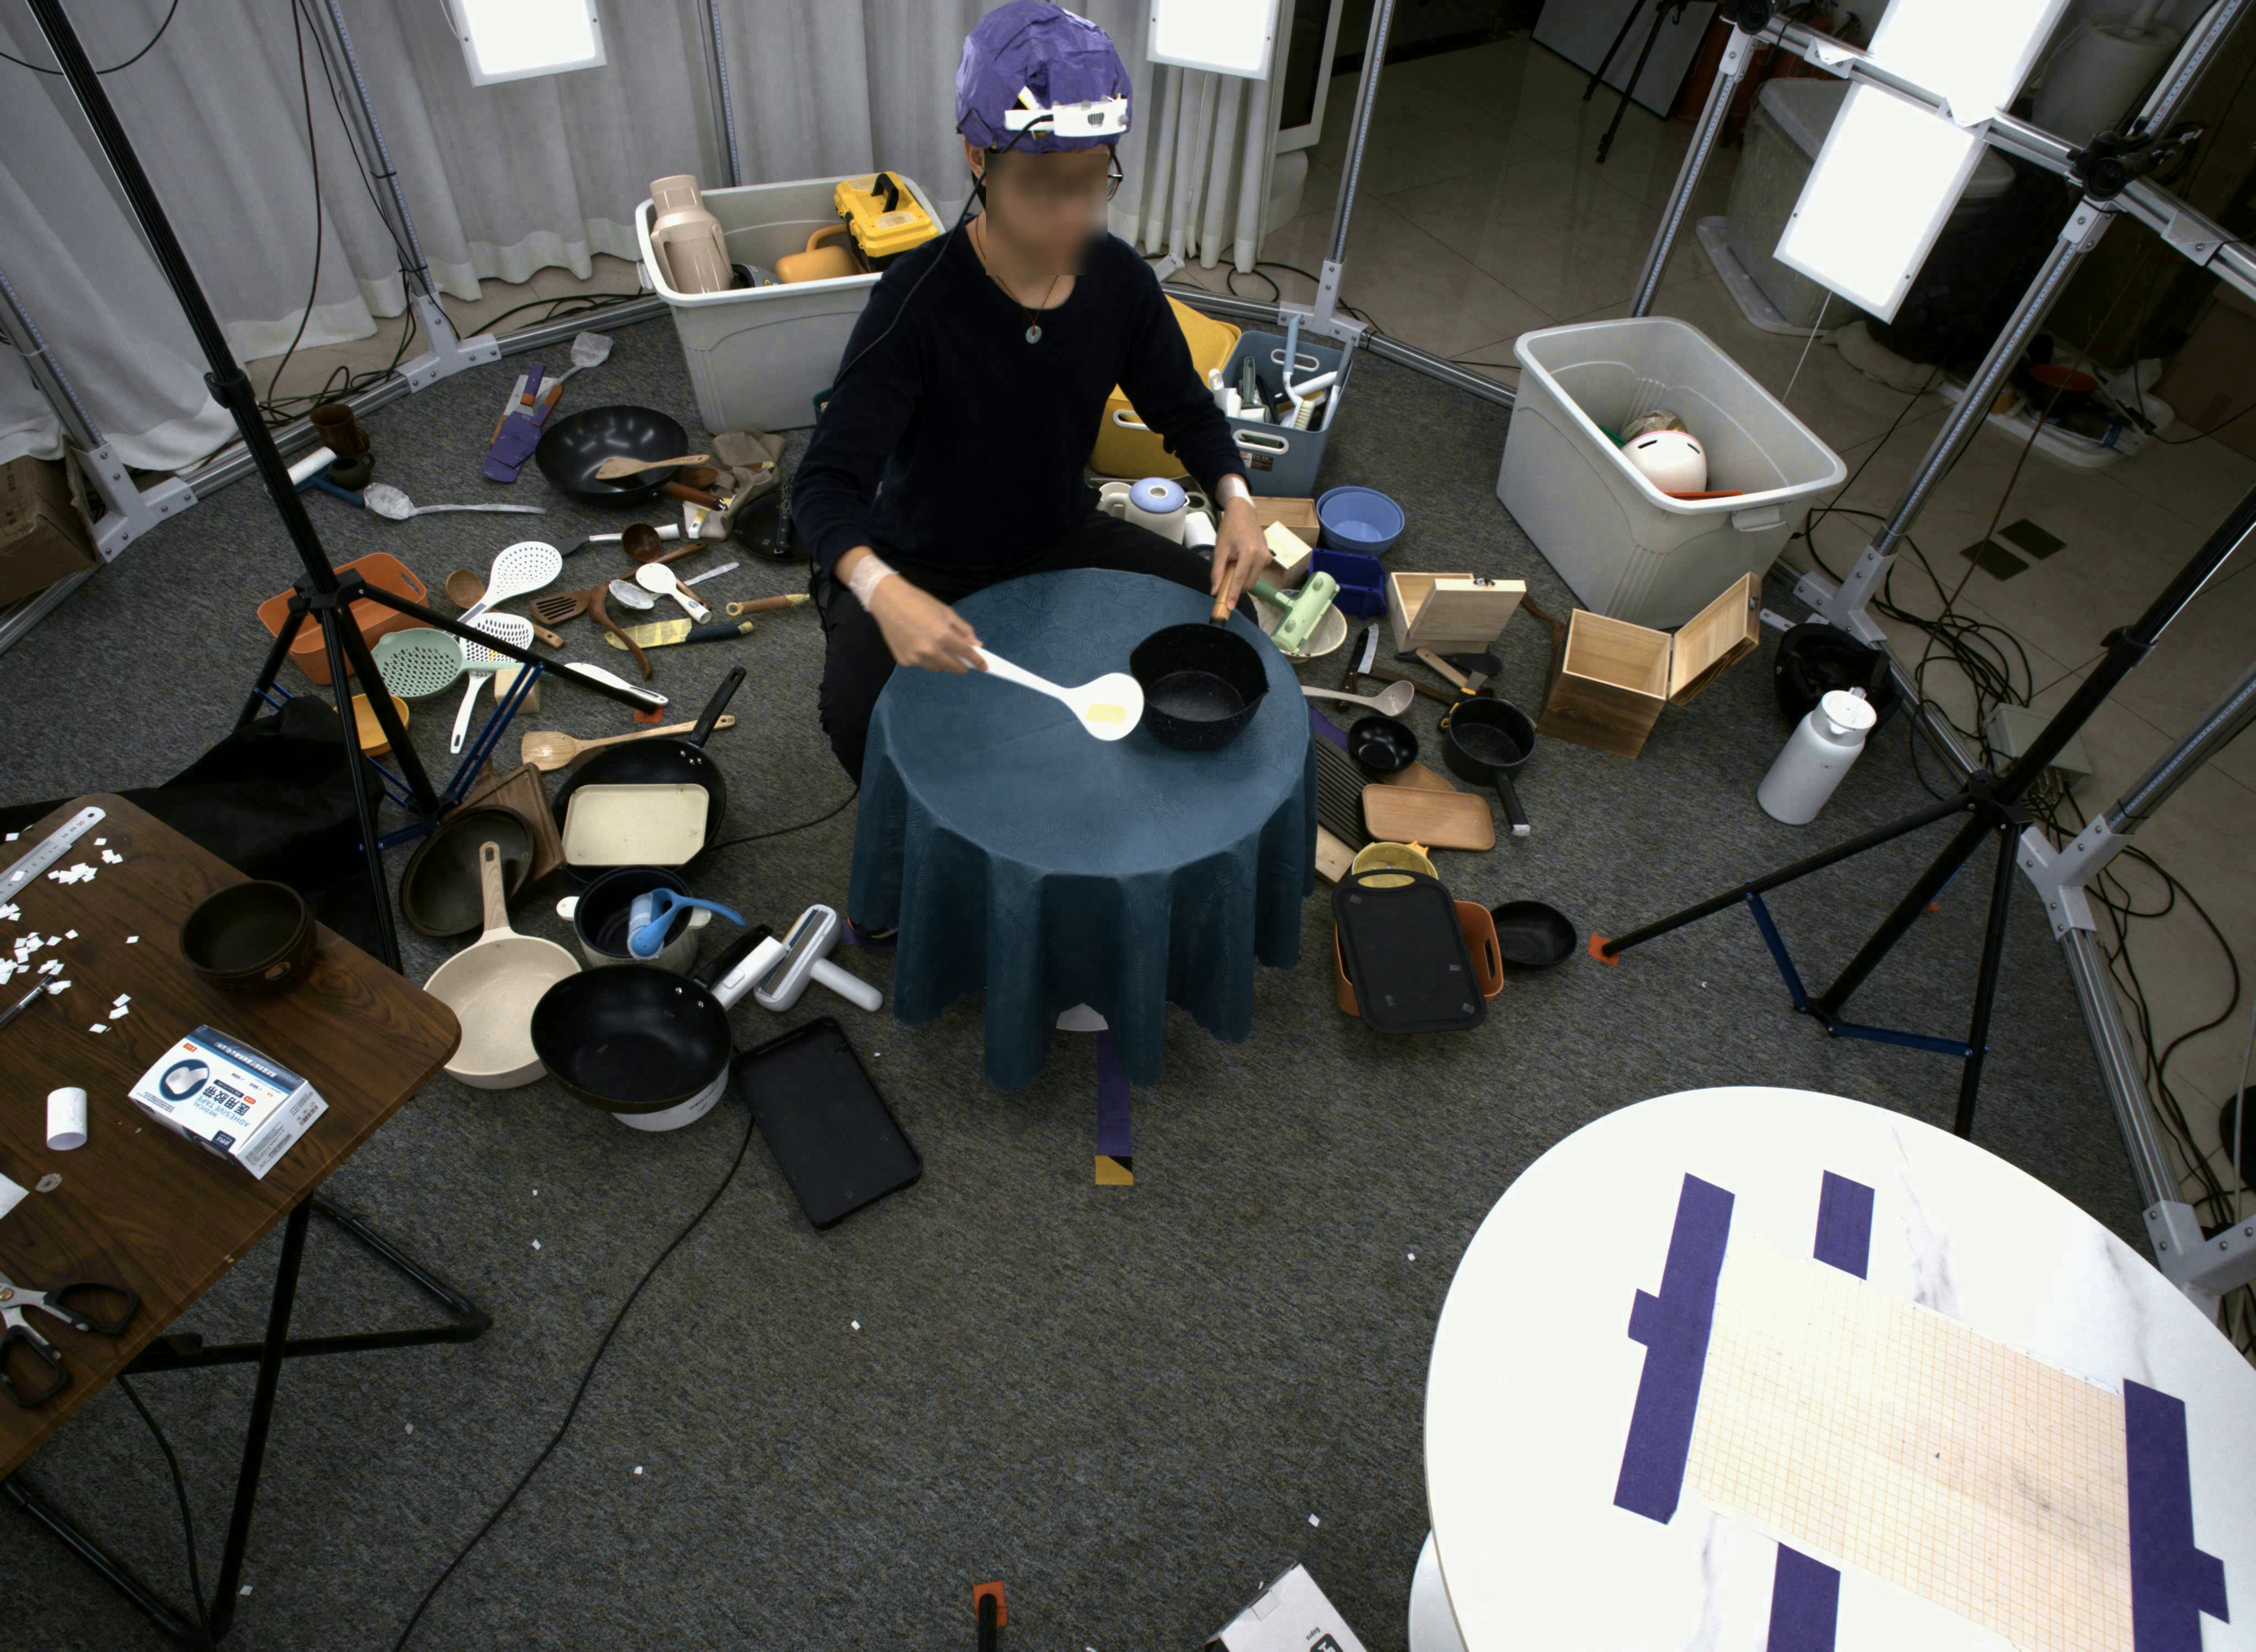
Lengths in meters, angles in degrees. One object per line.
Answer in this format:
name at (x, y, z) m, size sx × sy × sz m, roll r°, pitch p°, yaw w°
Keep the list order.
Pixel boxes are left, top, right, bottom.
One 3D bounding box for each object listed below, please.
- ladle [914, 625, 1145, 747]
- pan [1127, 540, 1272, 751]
ladle at (-0.119, -0.180, 1.585) m, size 0.290 × 0.070 × 0.090 m, roll 21°, pitch 83°, yaw -27°
pan at (0.117, -0.256, 1.818) m, size 0.208 × 0.105 × 0.350 m, roll 13°, pitch 54°, yaw 9°
